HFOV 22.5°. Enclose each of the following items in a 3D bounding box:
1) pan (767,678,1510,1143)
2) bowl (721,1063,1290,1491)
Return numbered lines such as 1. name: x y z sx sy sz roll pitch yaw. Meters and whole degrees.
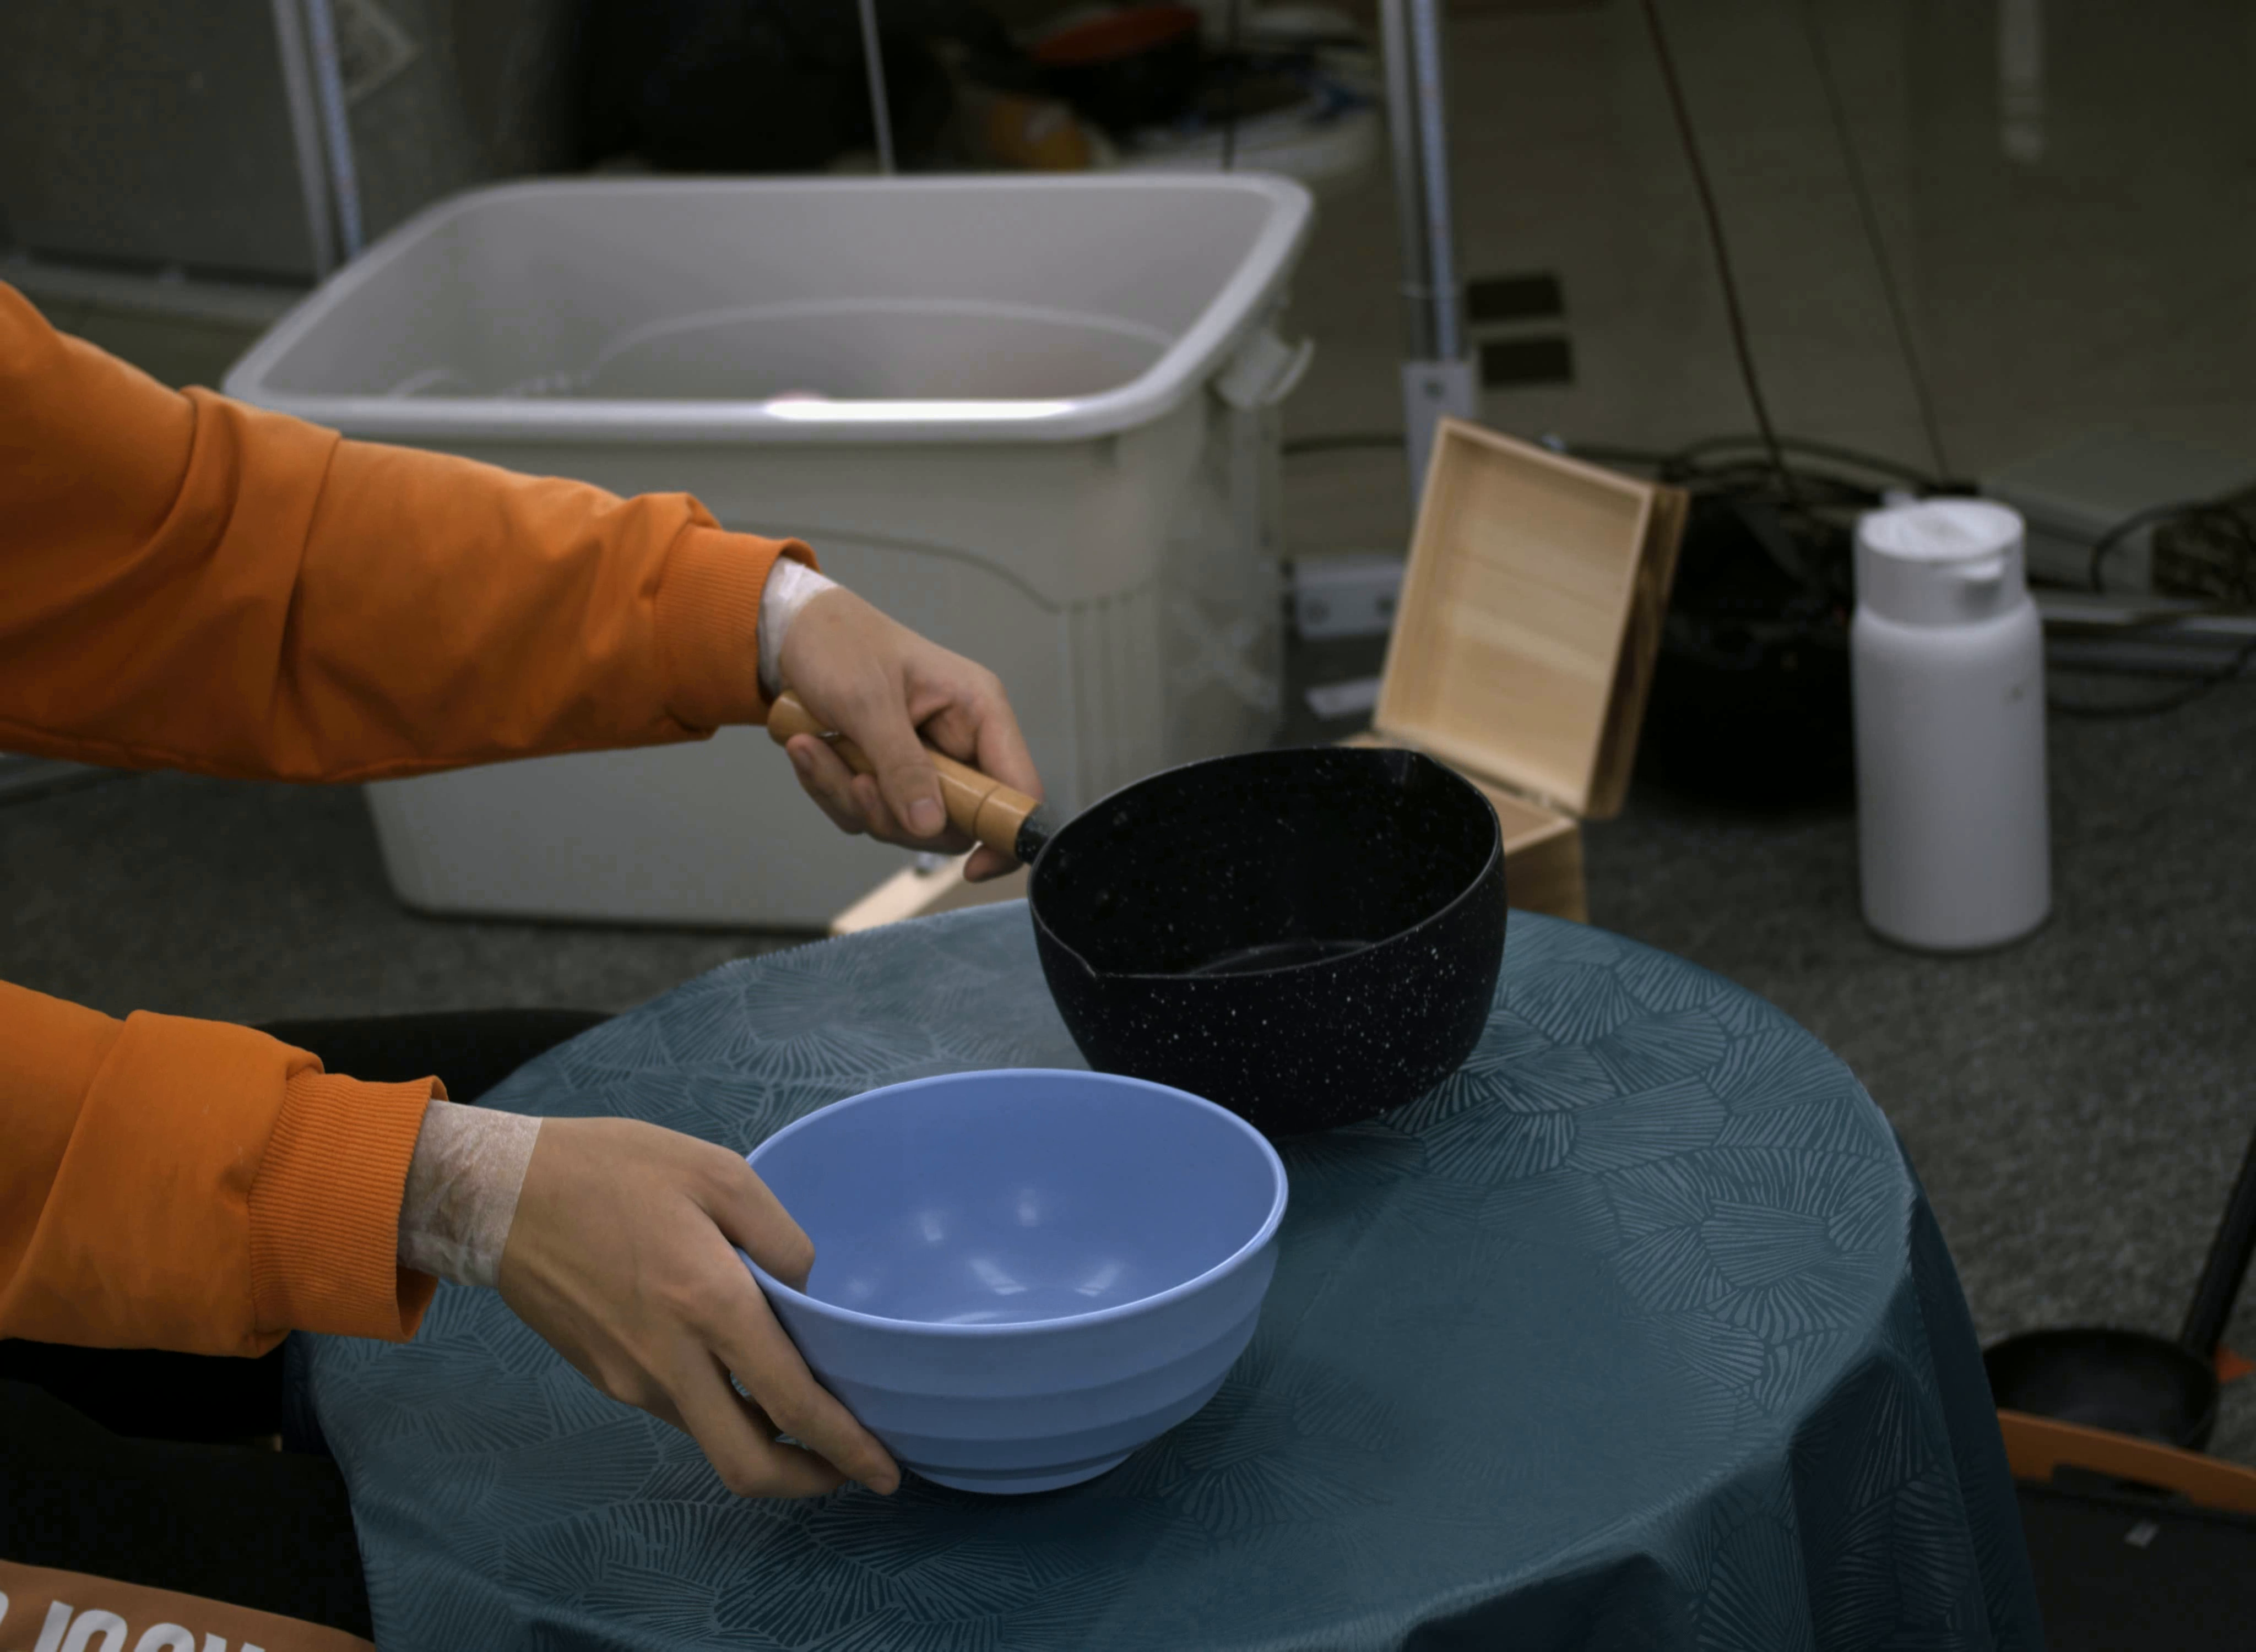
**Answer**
1. pan: -0.006 0.023 2.227 0.340 0.110 0.205 14 37 35
2. bowl: -0.041 0.167 1.972 0.196 0.097 0.193 -1 25 1
